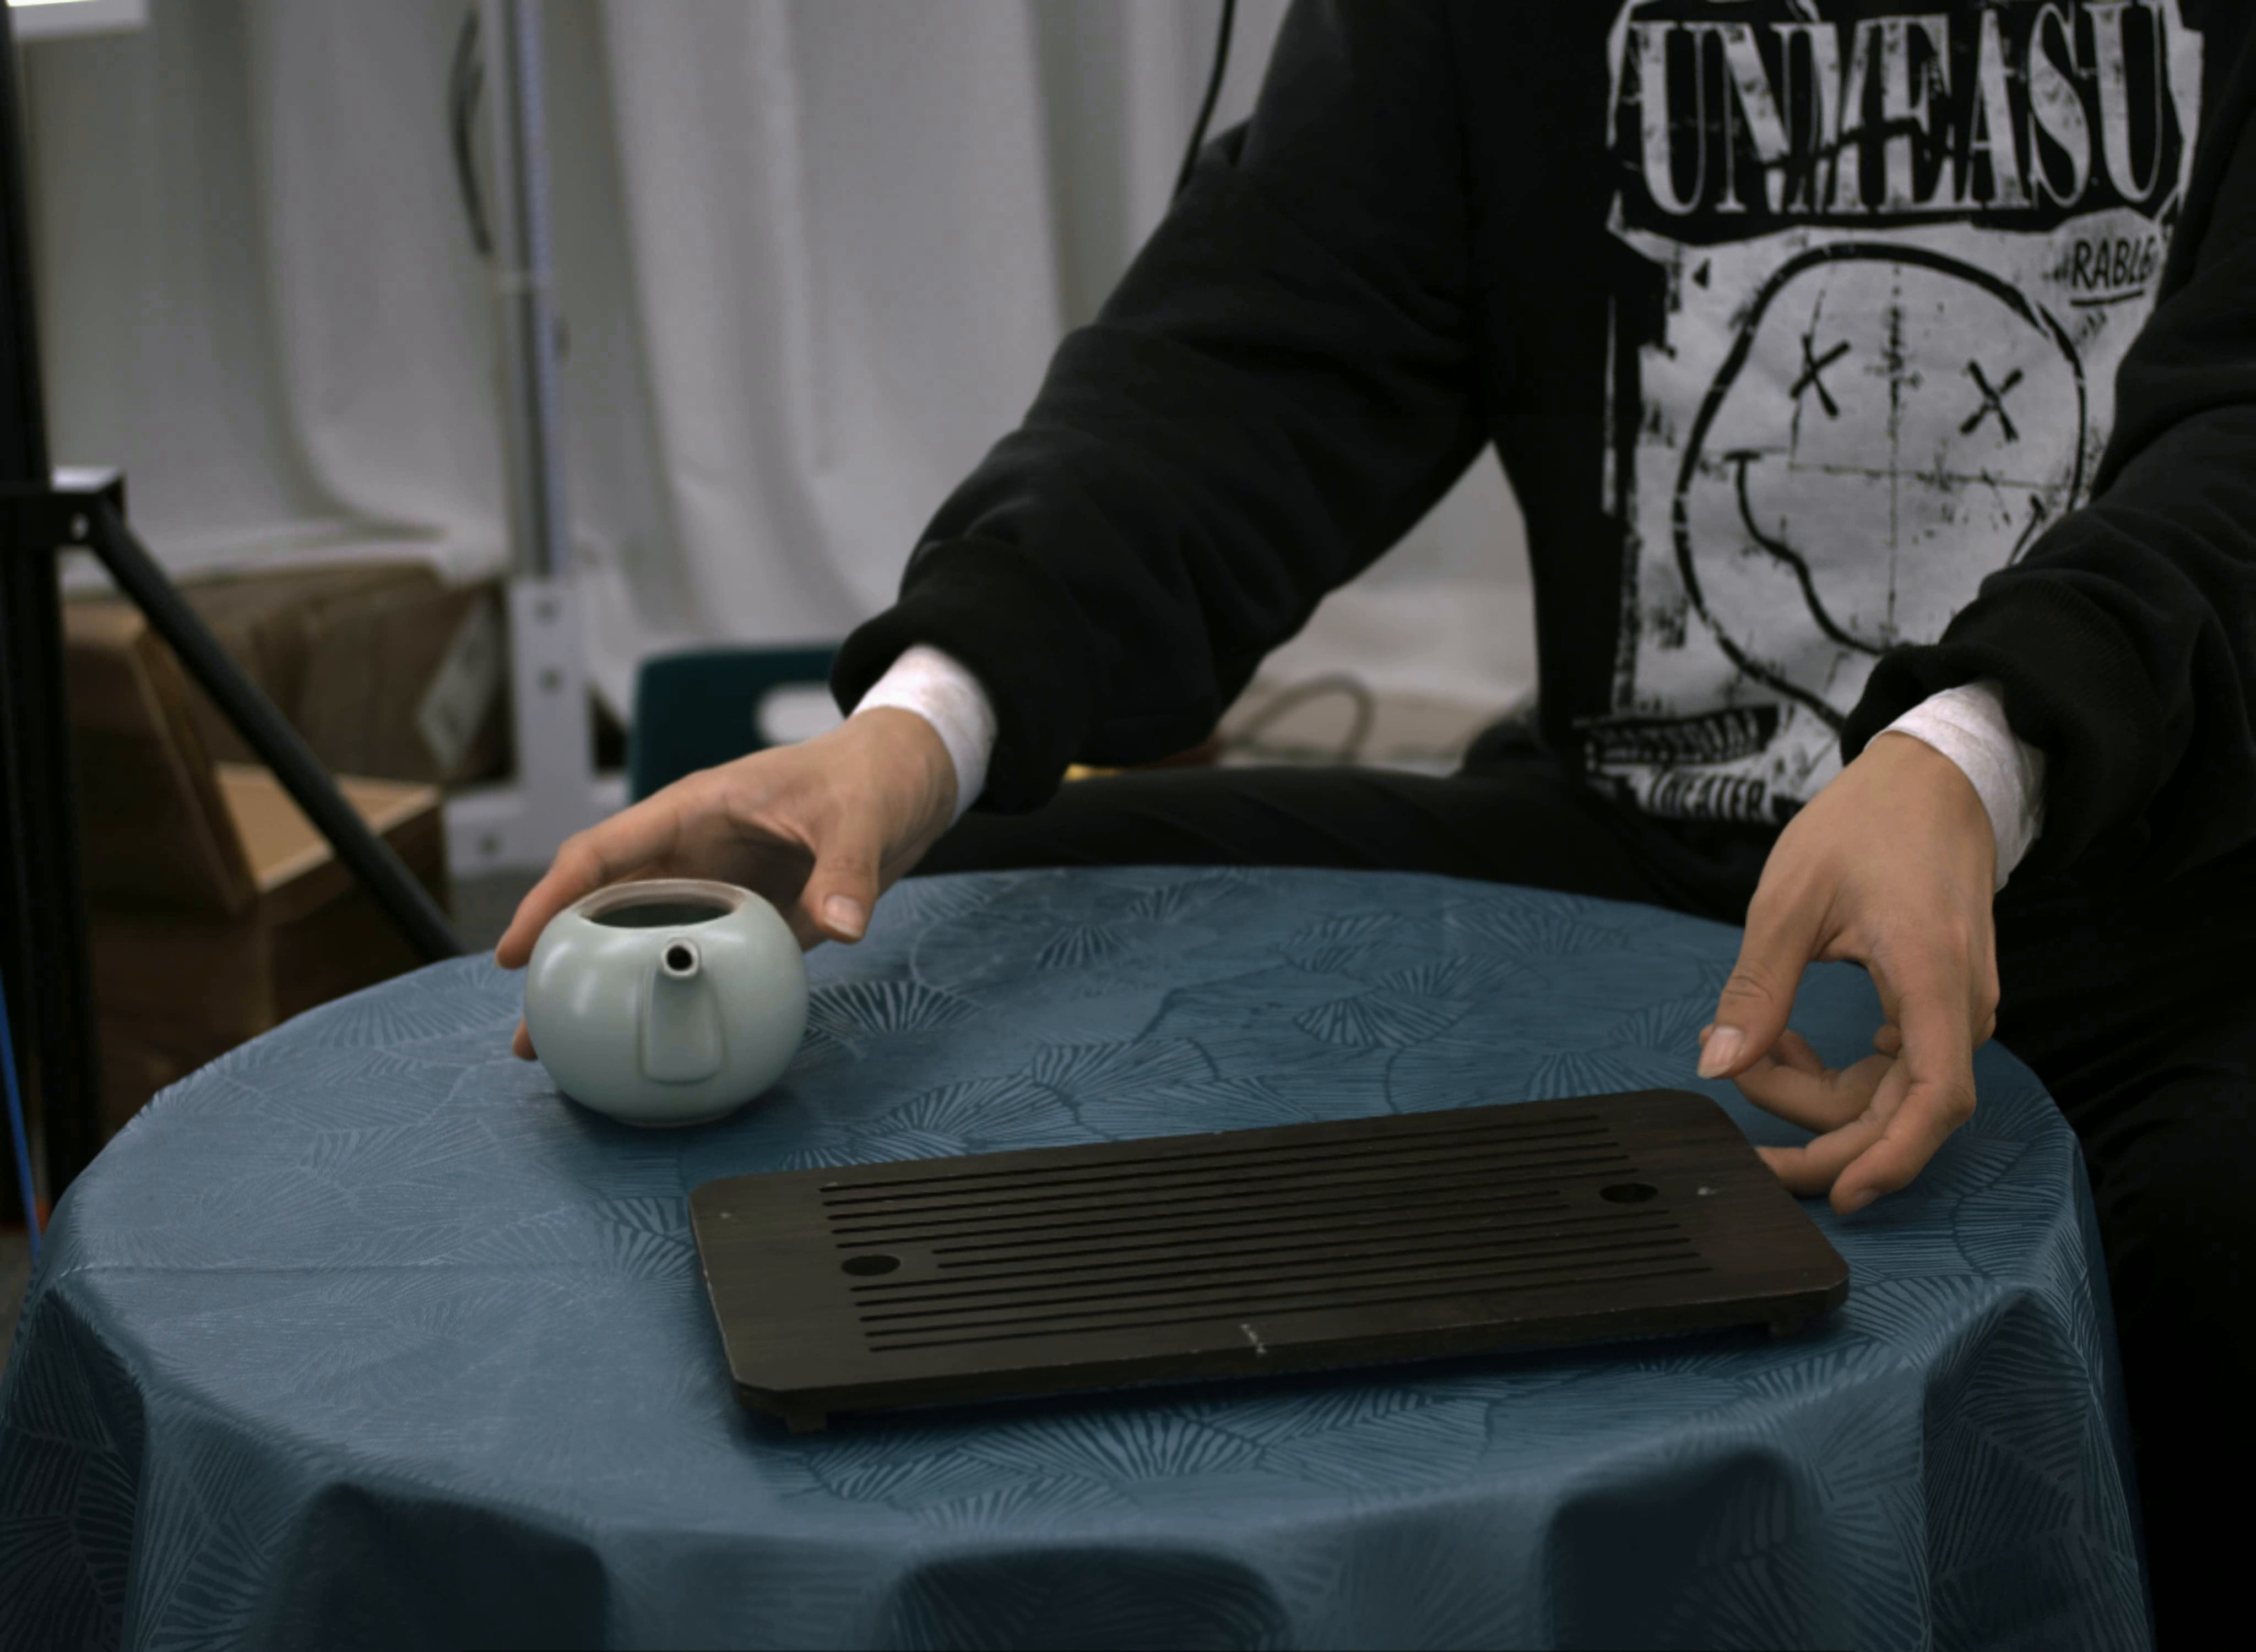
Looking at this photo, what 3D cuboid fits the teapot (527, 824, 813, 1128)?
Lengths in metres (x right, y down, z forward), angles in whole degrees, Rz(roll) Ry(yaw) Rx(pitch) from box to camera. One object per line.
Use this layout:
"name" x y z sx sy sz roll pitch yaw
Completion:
"teapot" -0.141 0.052 1.643 0.087 0.074 0.145 -5 17 -7

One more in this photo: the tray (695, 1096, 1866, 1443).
"tray" 0.038 0.121 1.467 0.303 0.018 0.172 -4 16 -6
